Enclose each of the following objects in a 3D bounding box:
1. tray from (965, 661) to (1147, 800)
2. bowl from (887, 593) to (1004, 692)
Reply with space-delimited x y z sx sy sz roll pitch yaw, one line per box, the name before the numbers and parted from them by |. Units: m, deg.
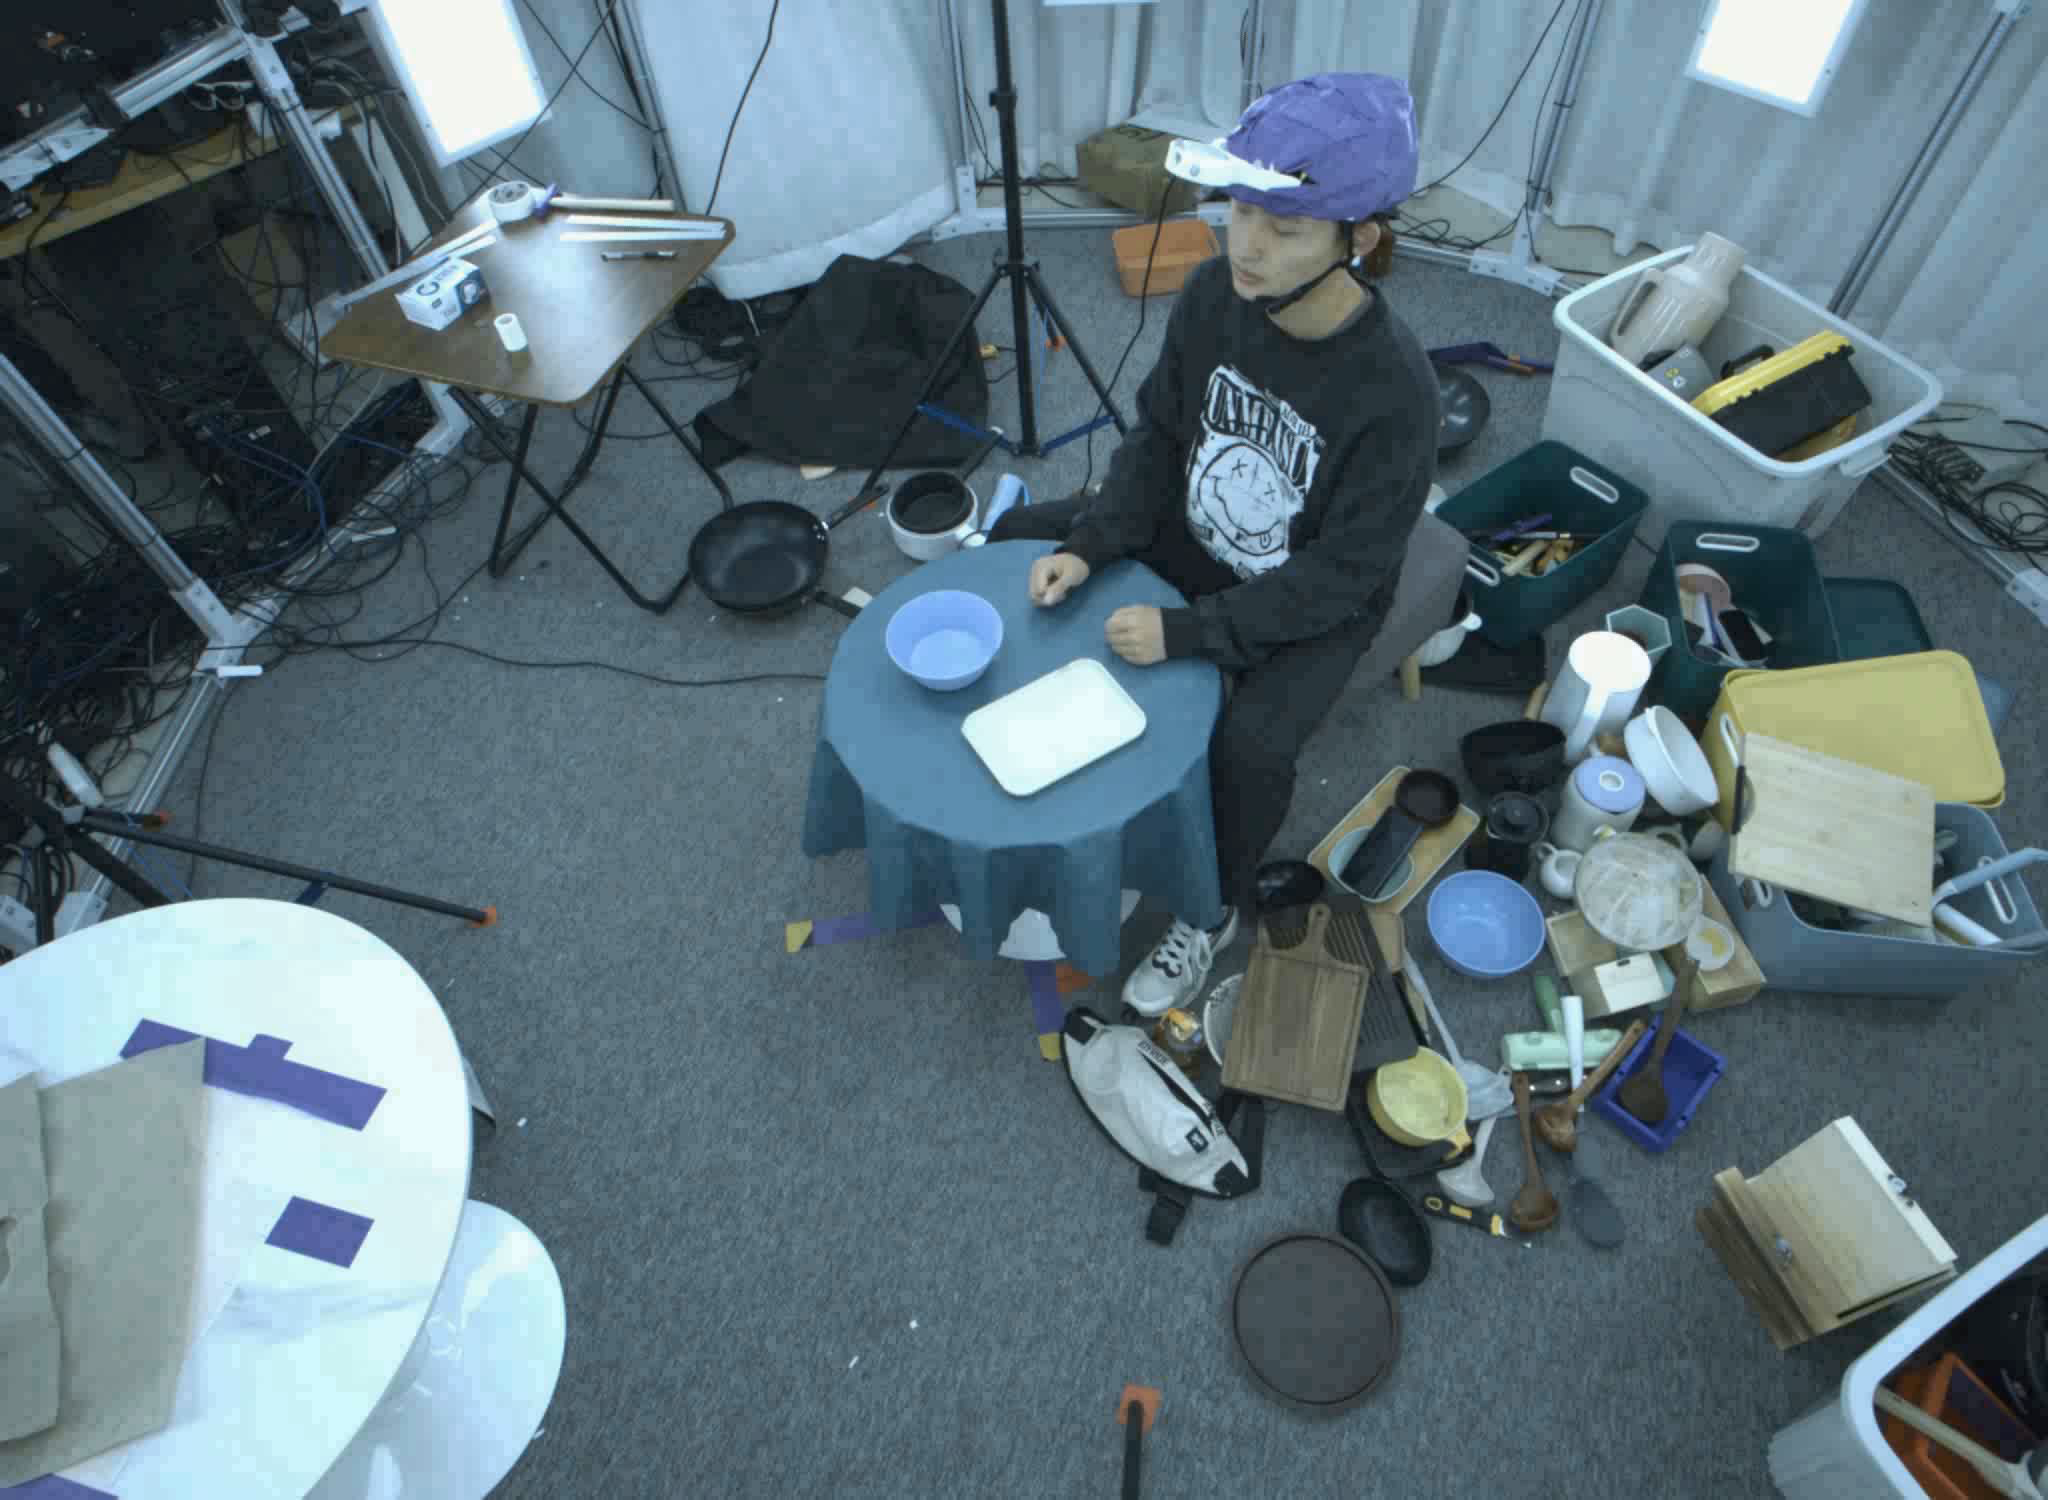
tray | 0.047 -0.030 1.806 0.241 0.017 0.168 -28 59 -17
bowl | -0.117 -0.153 1.865 0.176 0.071 0.174 0 56 1
